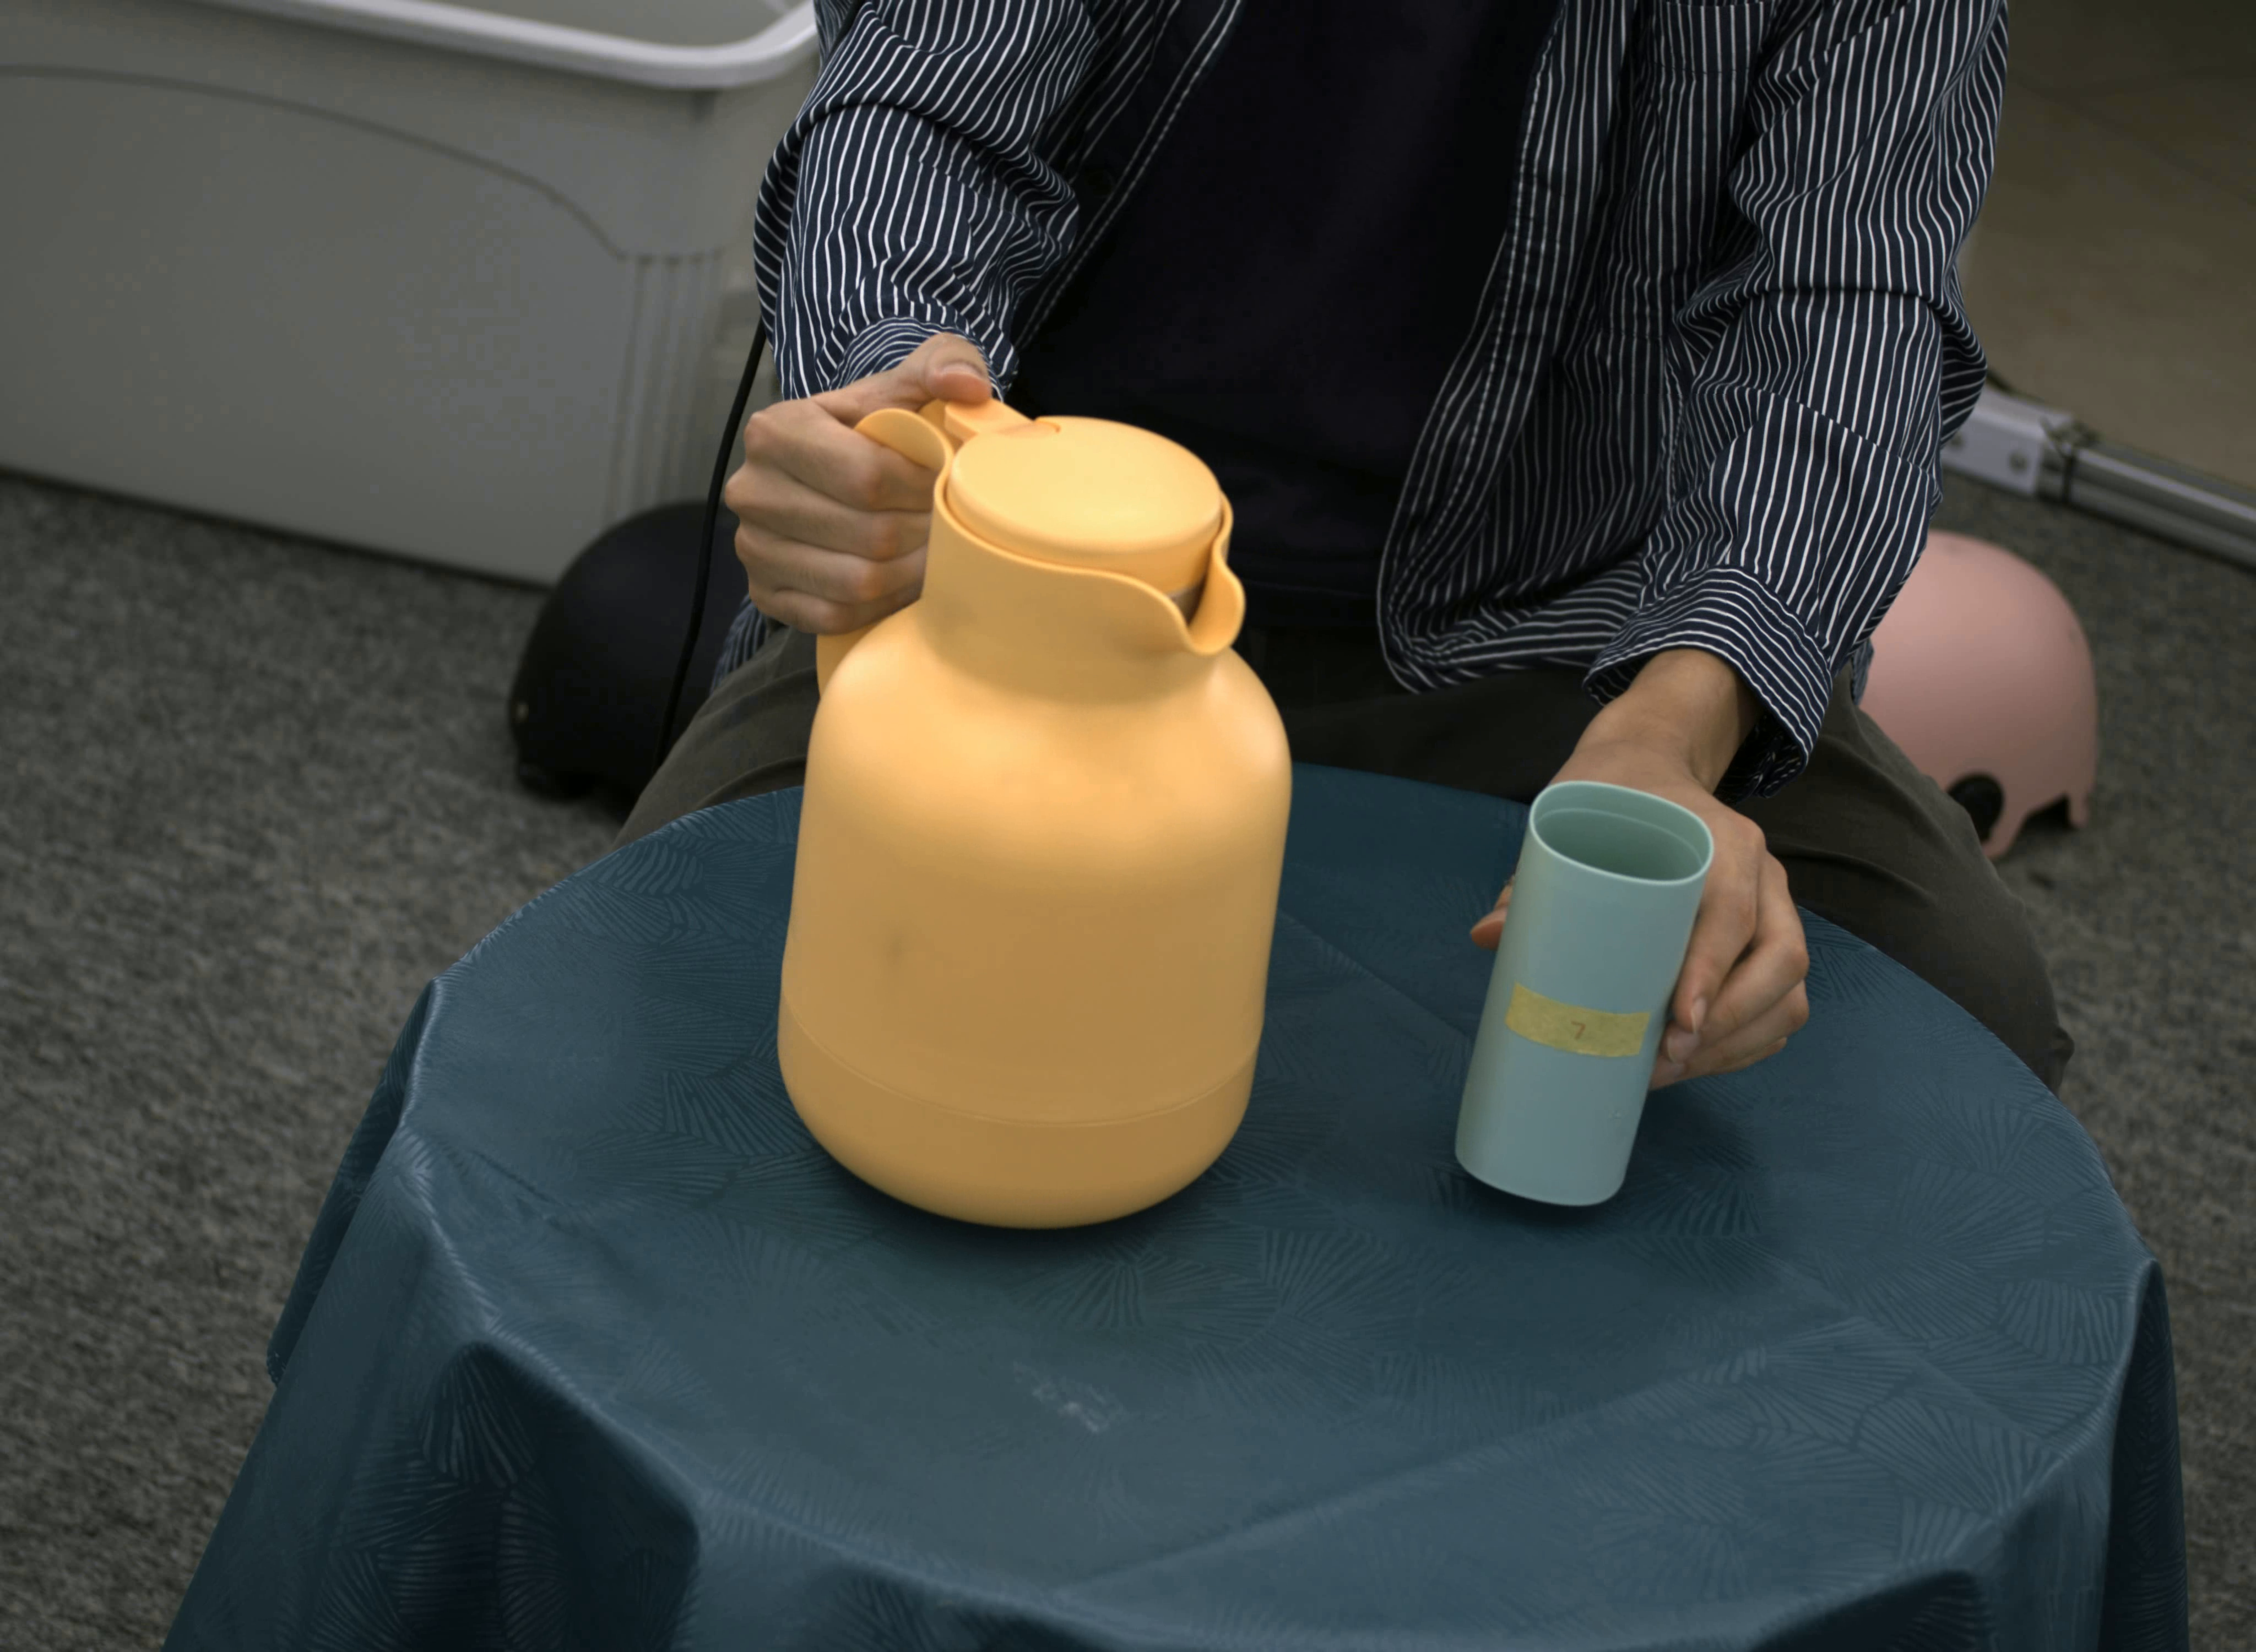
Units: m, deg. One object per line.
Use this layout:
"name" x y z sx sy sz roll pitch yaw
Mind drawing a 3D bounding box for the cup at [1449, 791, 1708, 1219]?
"cup" 0.151 0.060 1.795 0.066 0.132 0.067 8 28 -5

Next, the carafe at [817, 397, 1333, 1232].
"carafe" -0.025 -0.014 1.769 0.162 0.259 0.204 -17 38 -36
